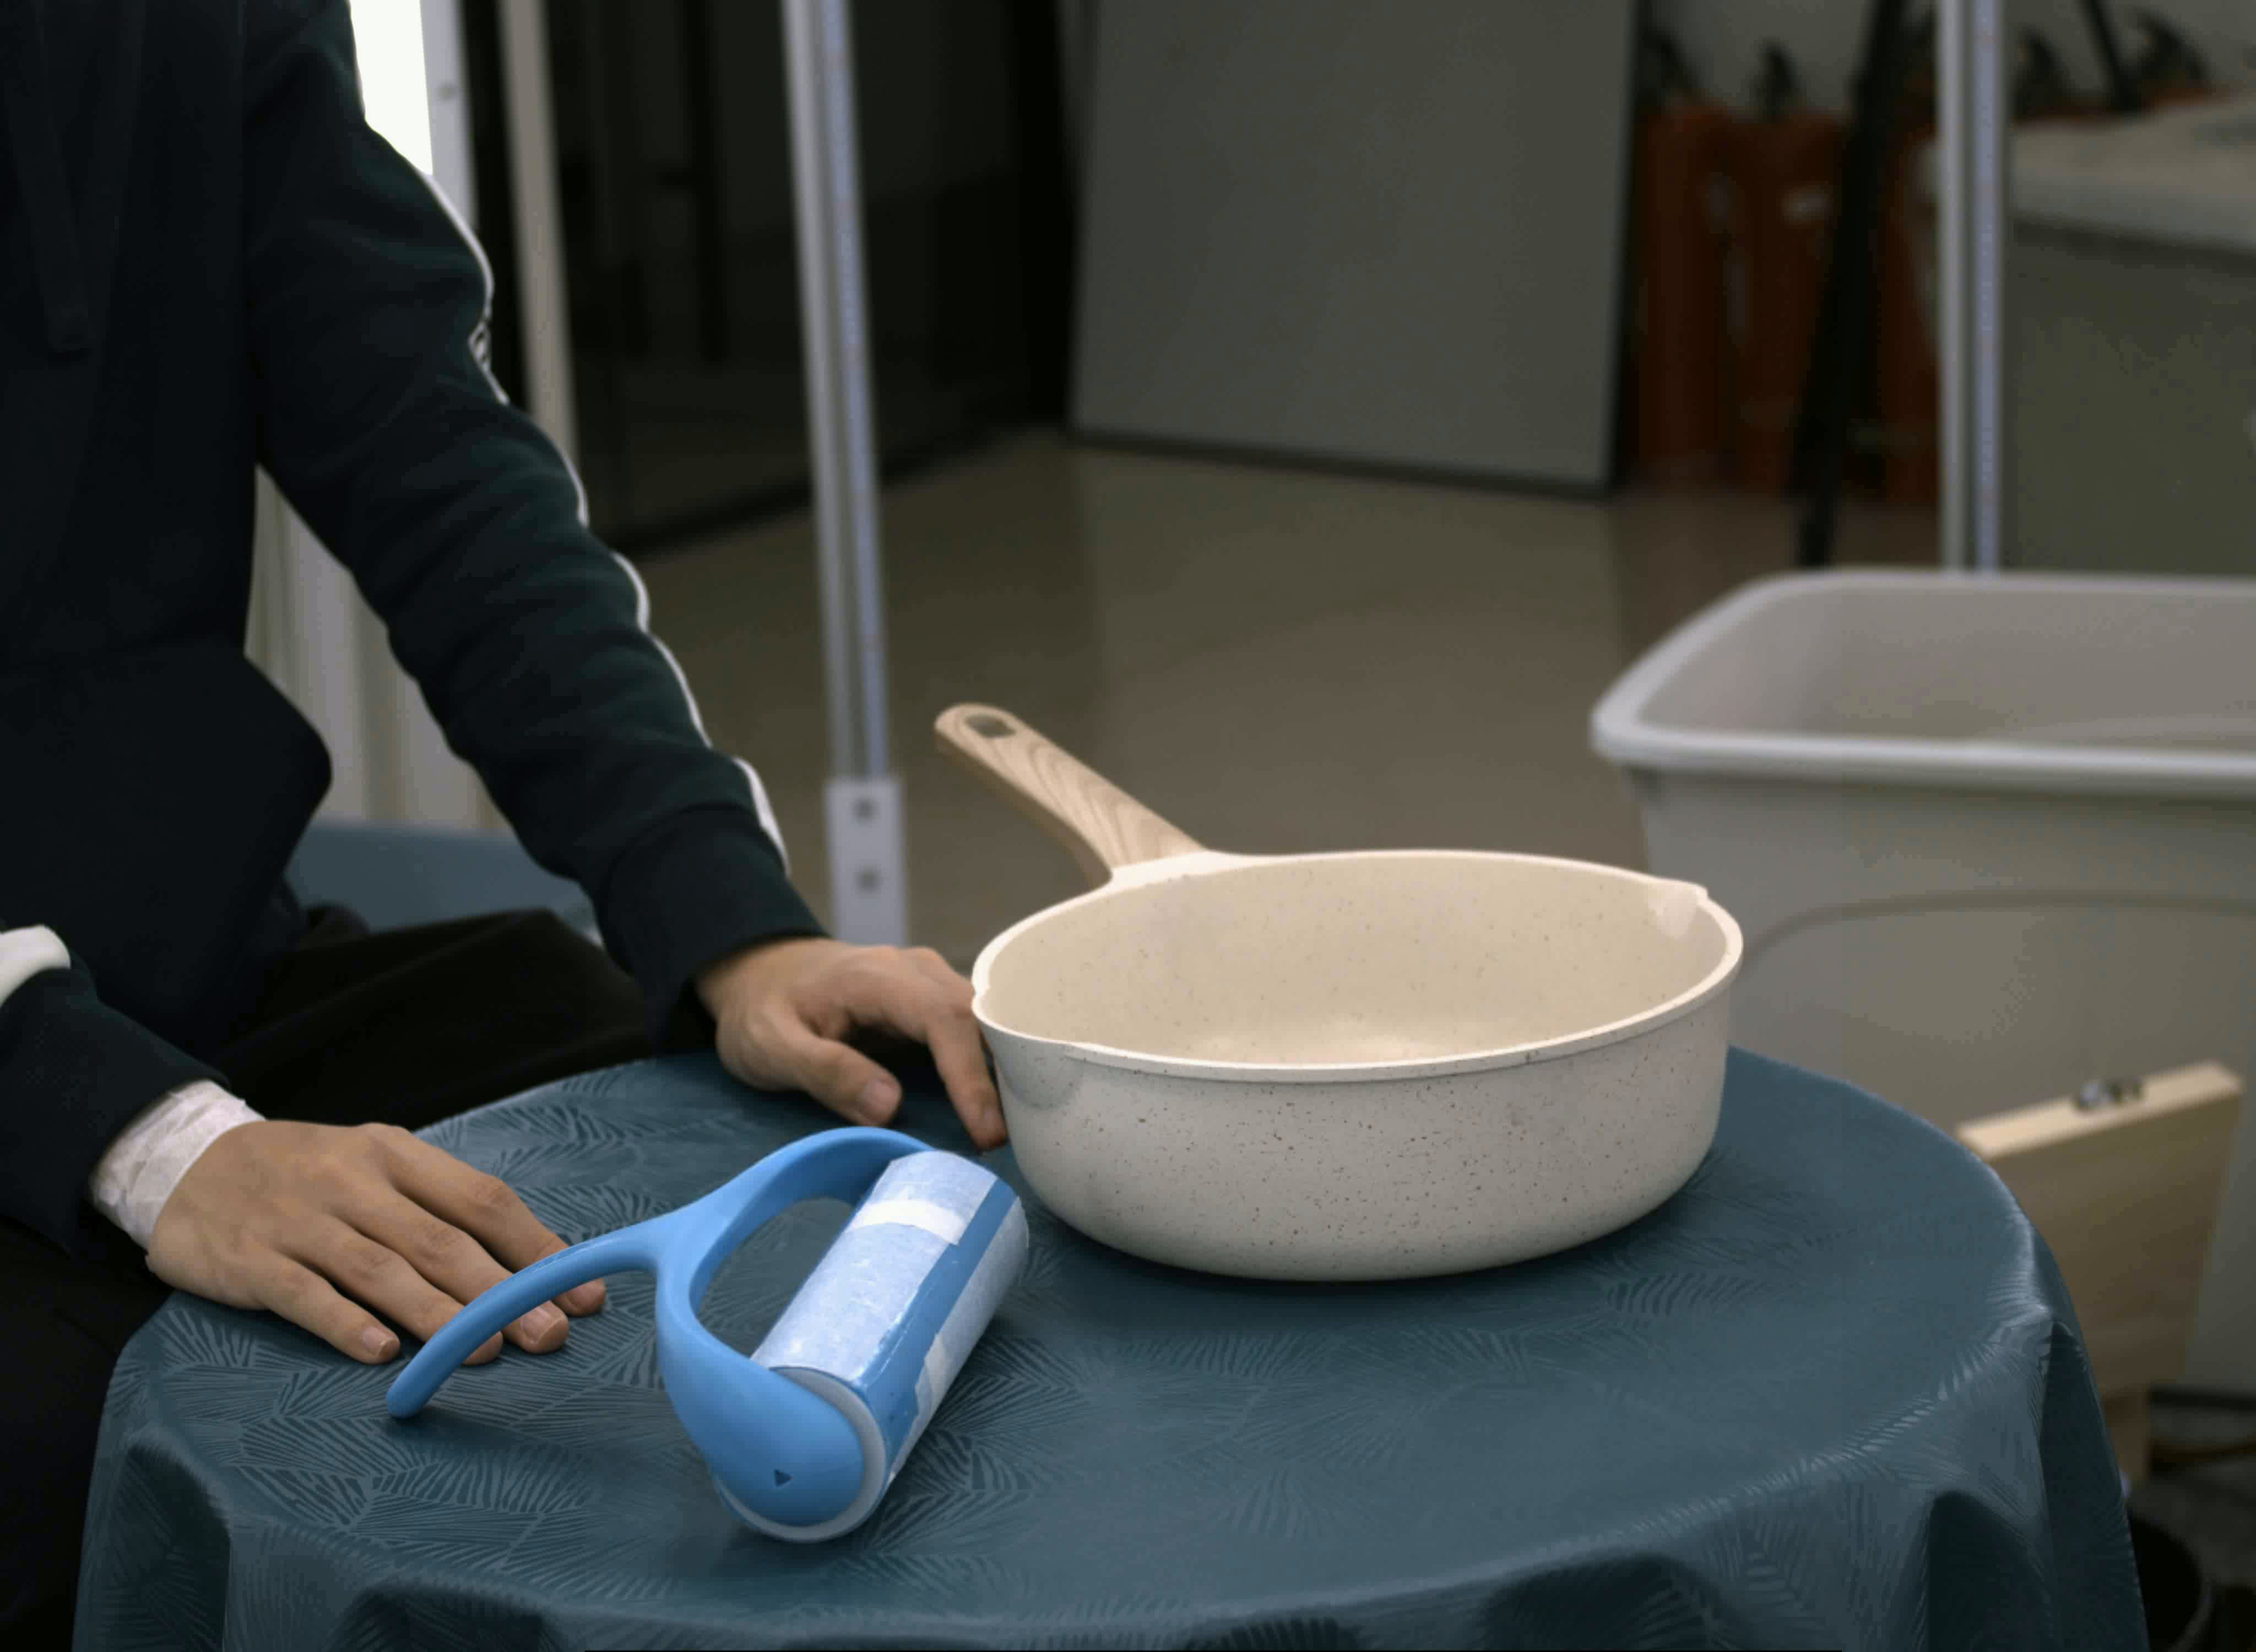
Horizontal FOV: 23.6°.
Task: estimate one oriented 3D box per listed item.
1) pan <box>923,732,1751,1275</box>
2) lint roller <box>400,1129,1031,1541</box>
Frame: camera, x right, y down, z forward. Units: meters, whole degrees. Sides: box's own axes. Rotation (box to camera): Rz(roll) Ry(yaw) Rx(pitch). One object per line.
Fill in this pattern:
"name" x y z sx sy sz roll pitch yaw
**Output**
"pan" 0.038 0.053 1.827 0.258 0.103 0.439 -12 15 -24
"lint roller" -0.129 0.148 1.580 0.179 0.068 0.228 -2 15 9
